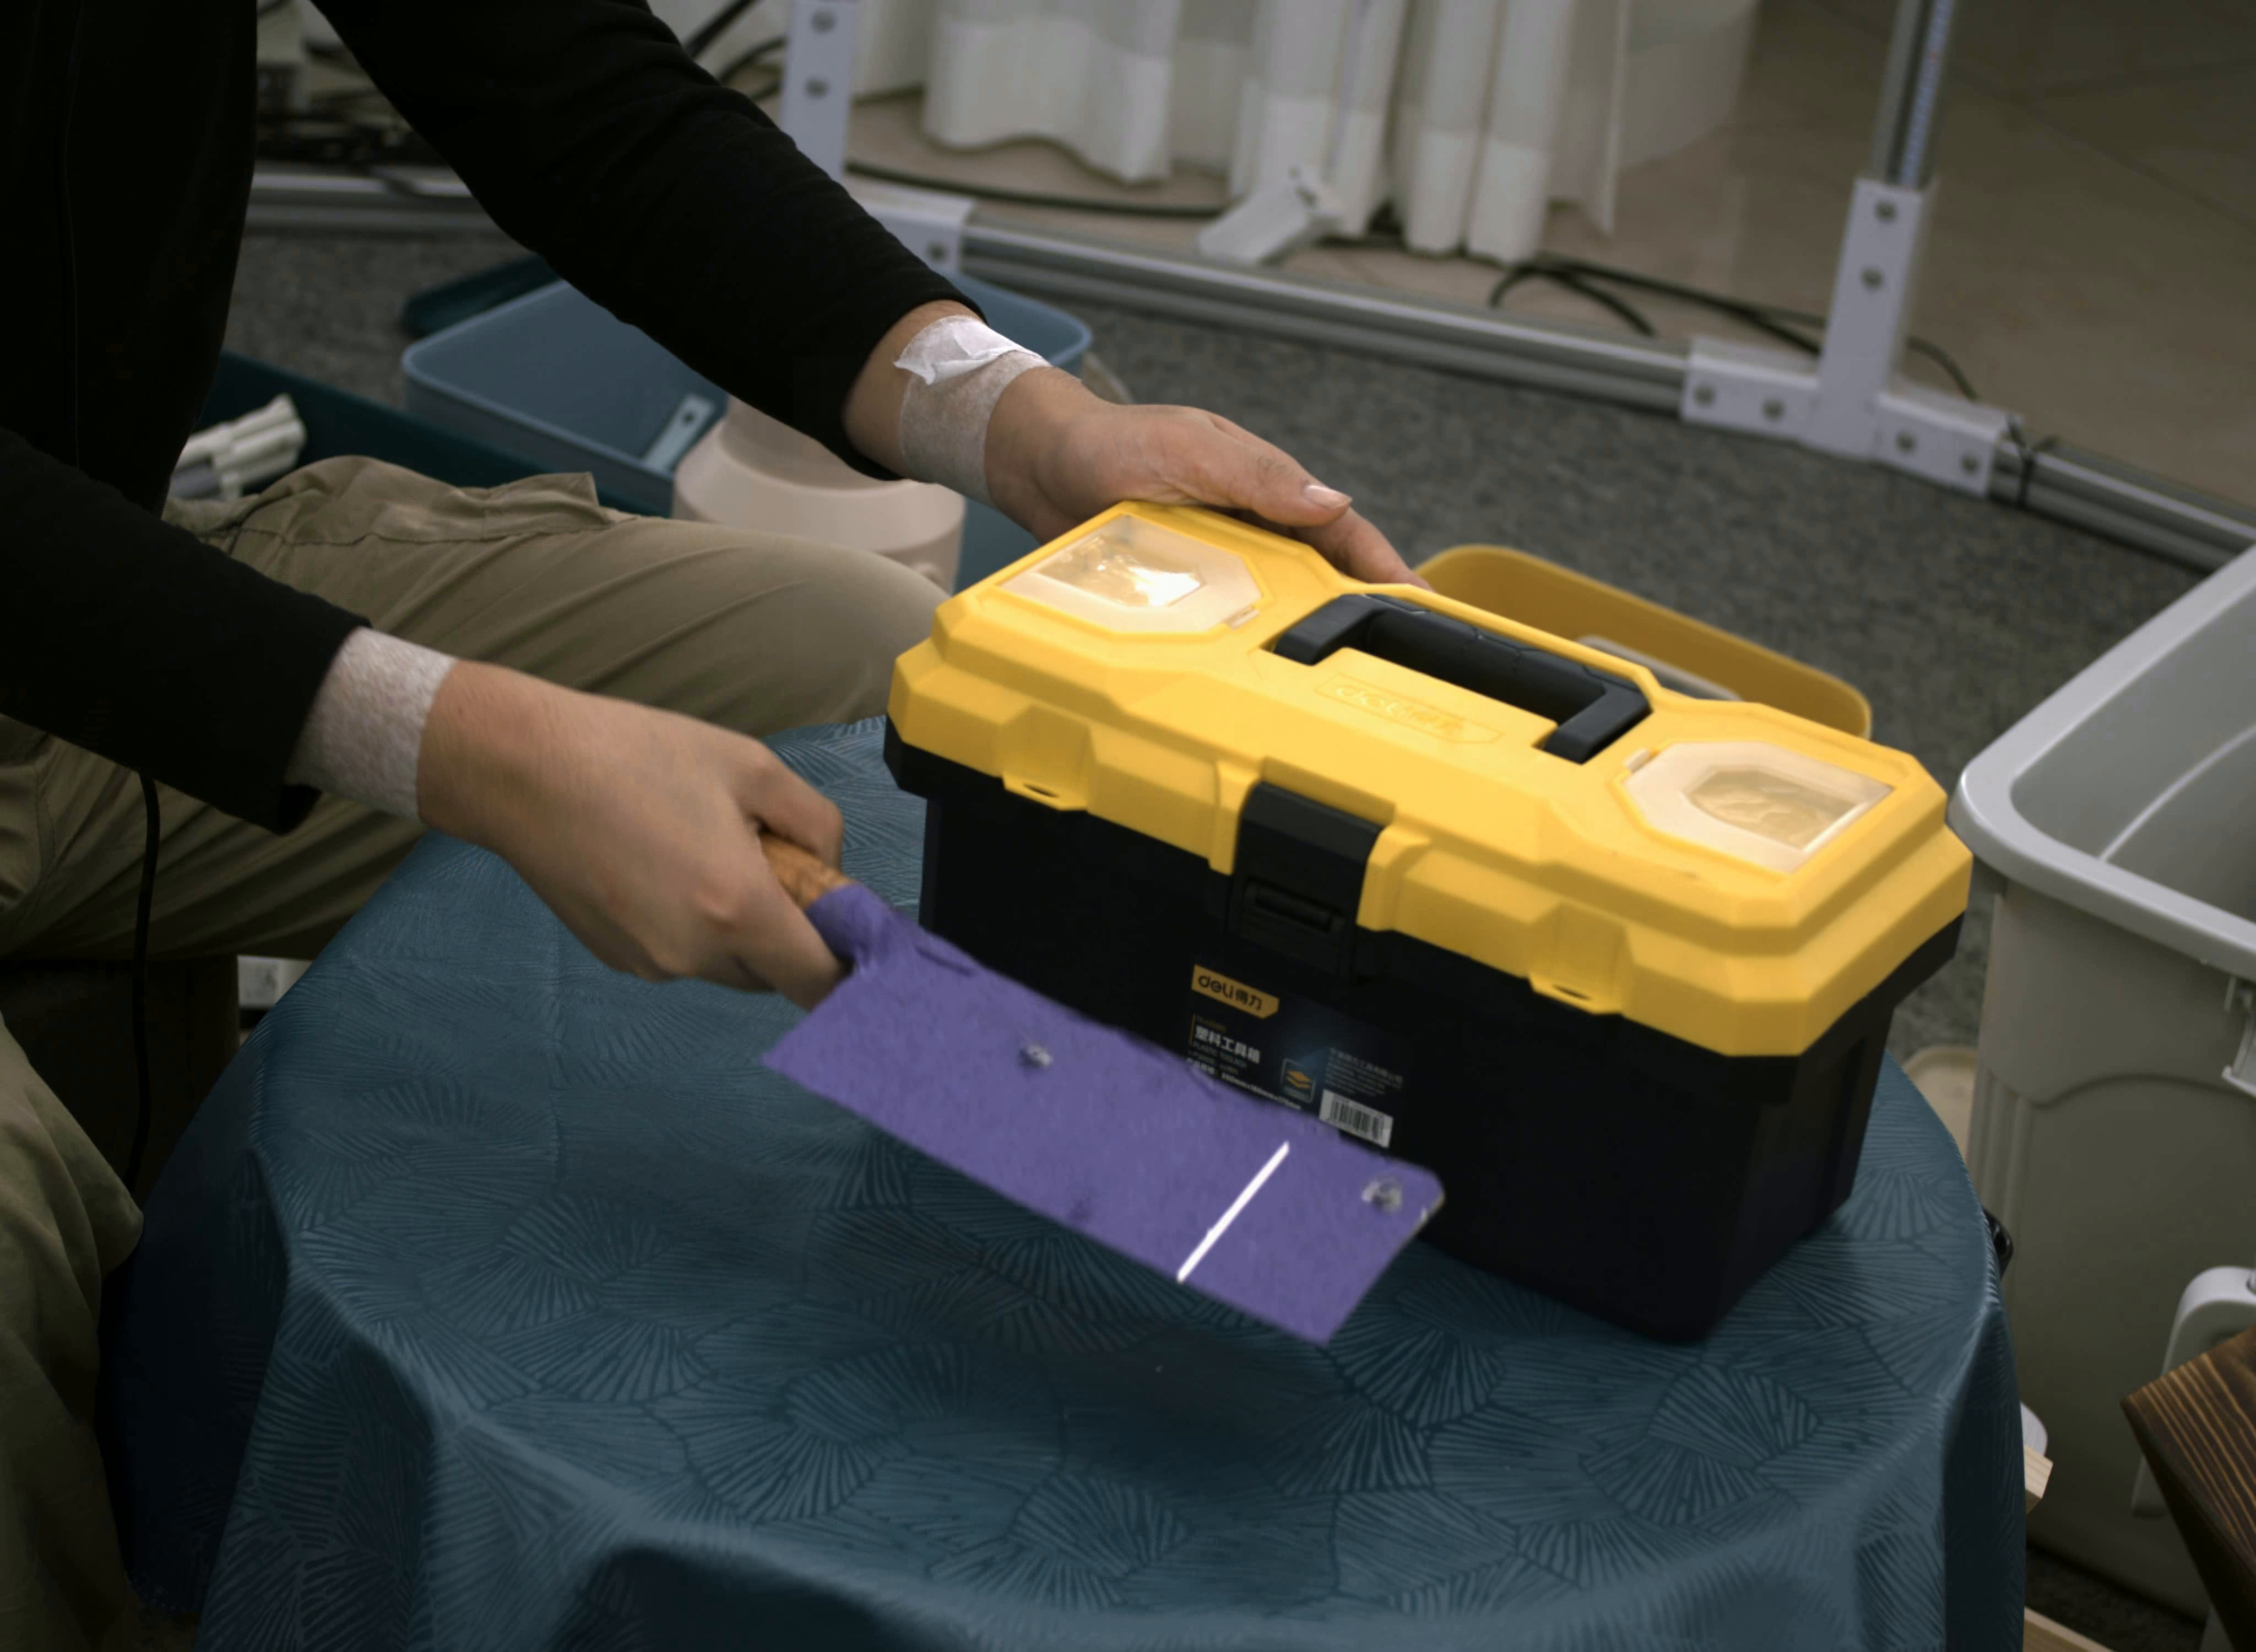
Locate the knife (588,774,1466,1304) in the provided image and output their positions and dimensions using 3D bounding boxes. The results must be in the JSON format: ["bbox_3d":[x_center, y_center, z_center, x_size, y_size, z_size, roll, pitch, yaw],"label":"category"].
[{"bbox_3d":[-0.050,0.066,1.693,0.316,0.032,0.104,22,37,20],"label":"knife"}]

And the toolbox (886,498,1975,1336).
[{"bbox_3d":[0.094,0.028,1.821,0.353,0.172,0.181,21,29,26],"label":"toolbox"}]
